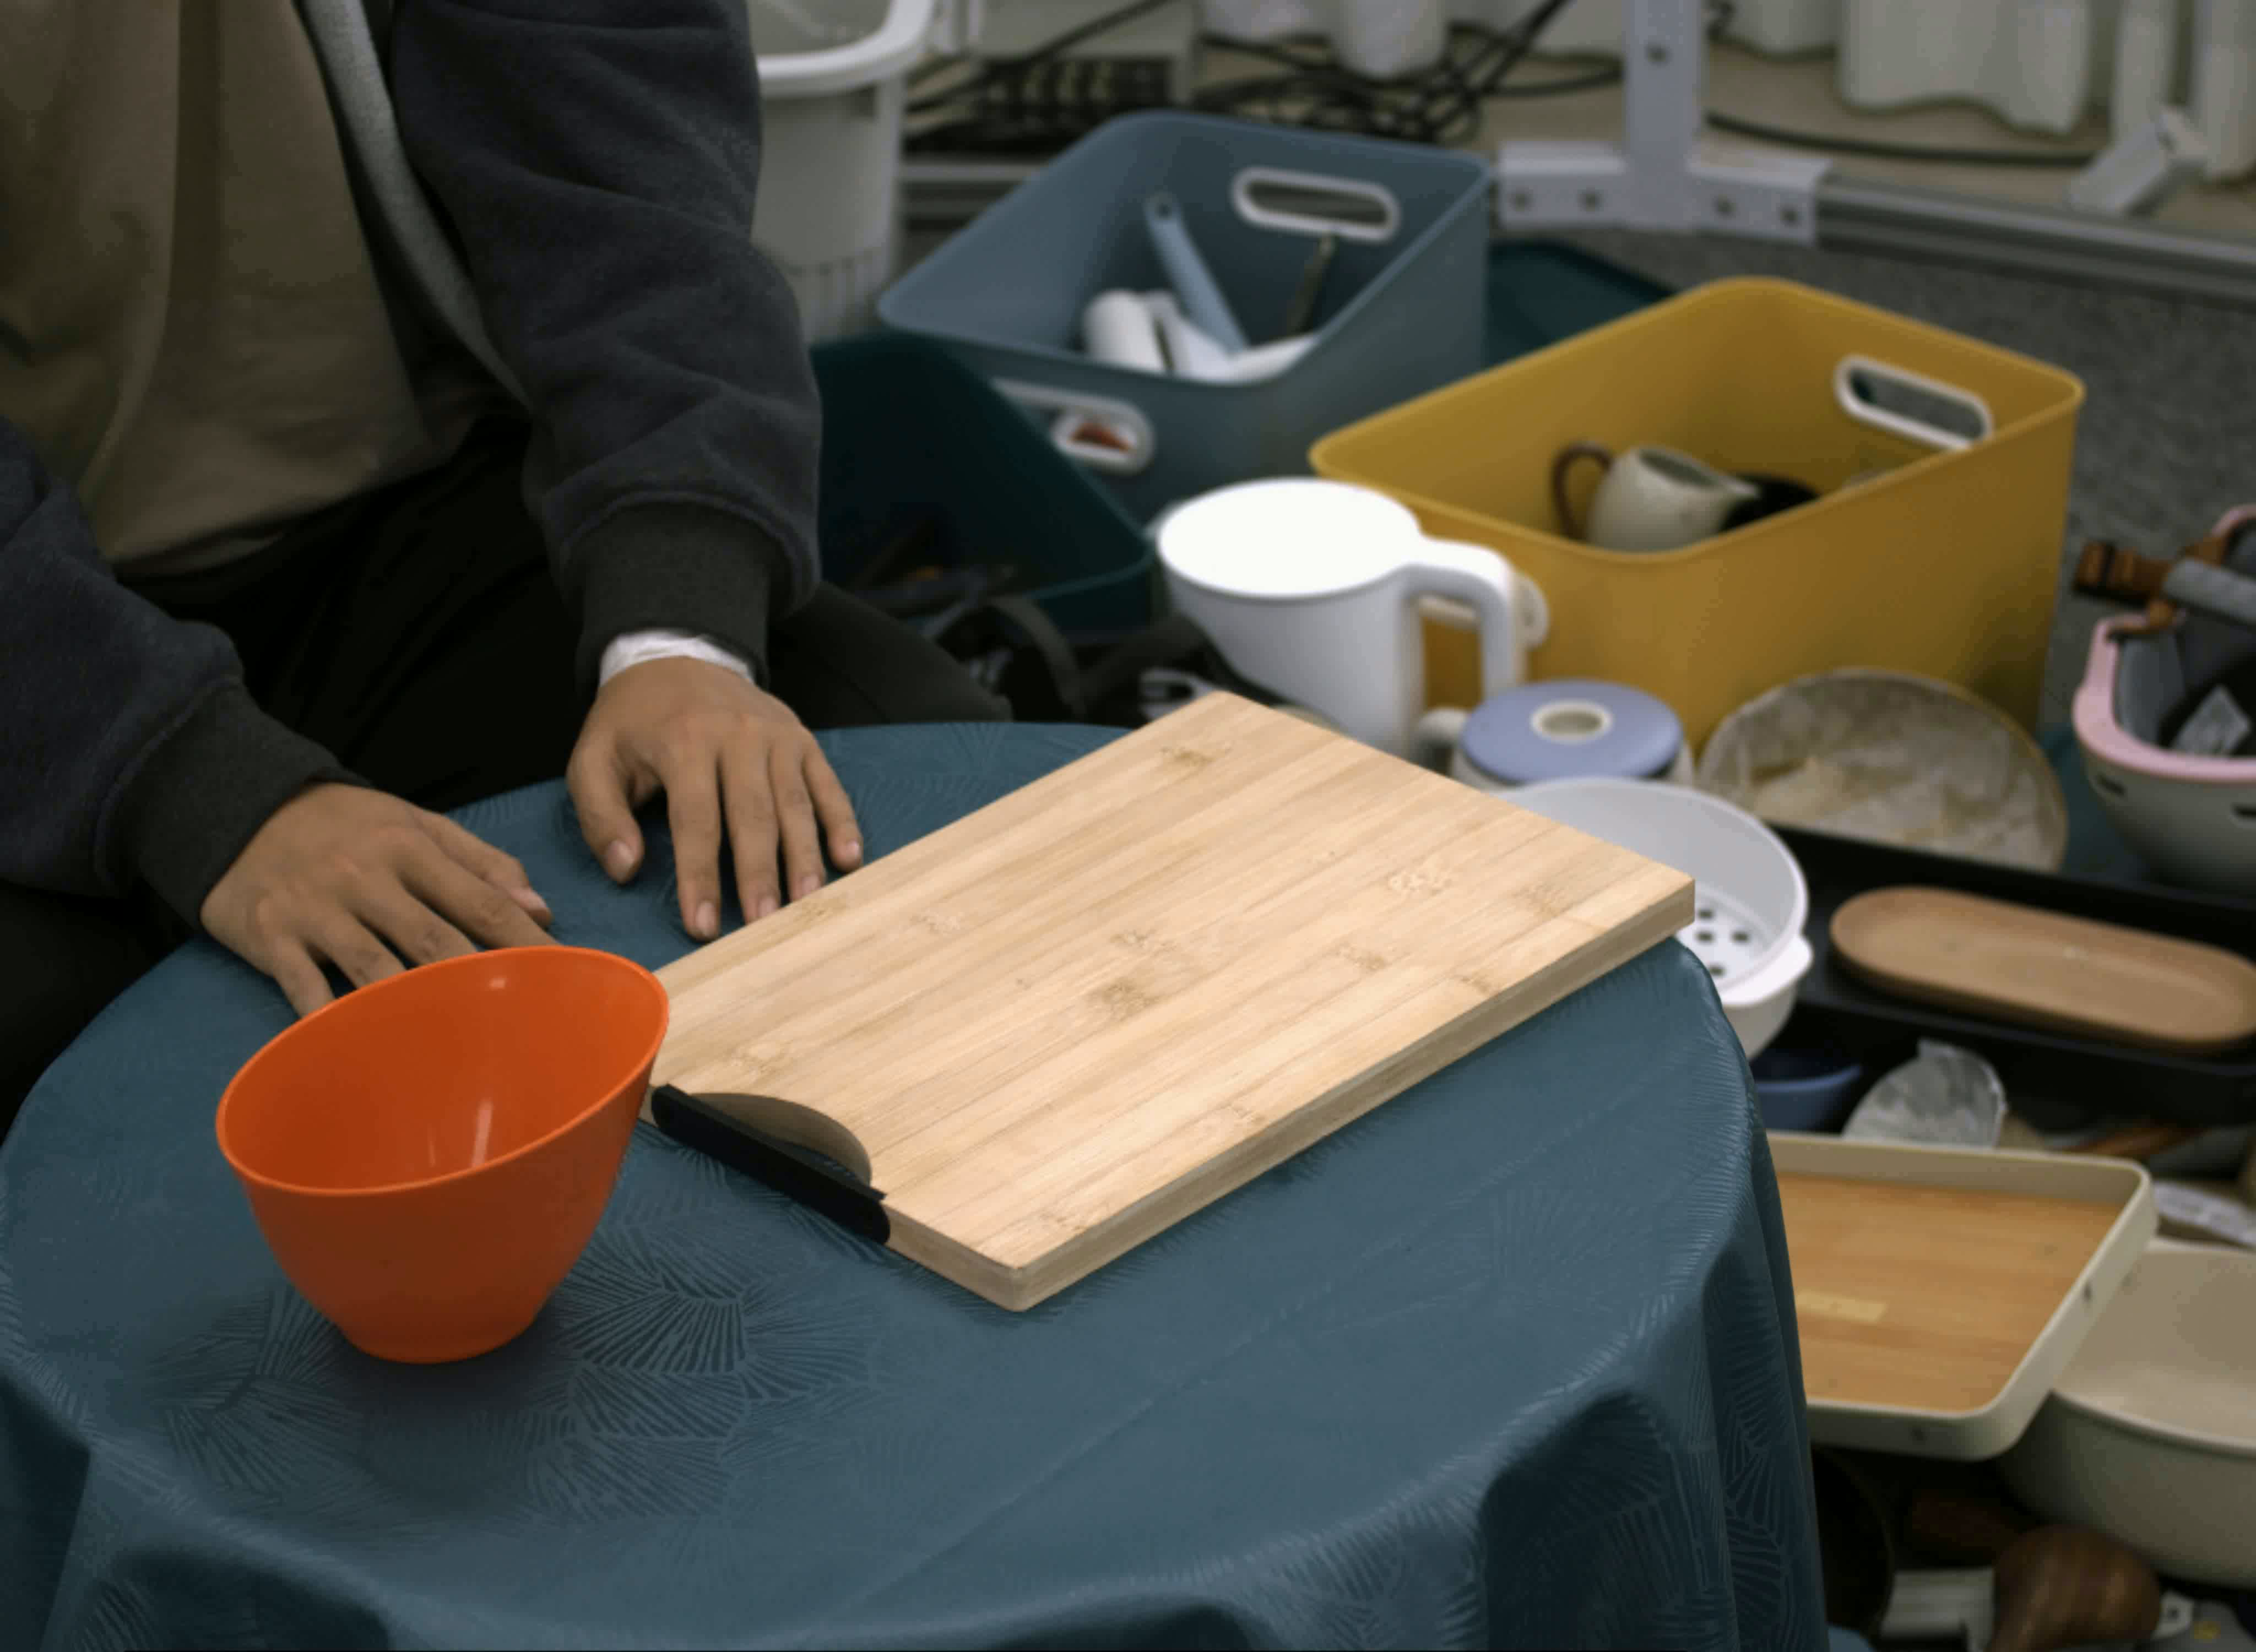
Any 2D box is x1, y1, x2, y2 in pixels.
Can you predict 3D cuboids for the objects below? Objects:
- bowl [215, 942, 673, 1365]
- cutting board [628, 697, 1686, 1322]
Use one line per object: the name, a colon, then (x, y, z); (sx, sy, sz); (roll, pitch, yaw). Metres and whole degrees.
bowl: (-0.214, 0.112, 1.792); (0.147, 0.103, 0.150); (-2, 29, 2)
cutting board: (-0.005, 0.056, 1.973); (0.250, 0.023, 0.353); (21, 36, 40)
